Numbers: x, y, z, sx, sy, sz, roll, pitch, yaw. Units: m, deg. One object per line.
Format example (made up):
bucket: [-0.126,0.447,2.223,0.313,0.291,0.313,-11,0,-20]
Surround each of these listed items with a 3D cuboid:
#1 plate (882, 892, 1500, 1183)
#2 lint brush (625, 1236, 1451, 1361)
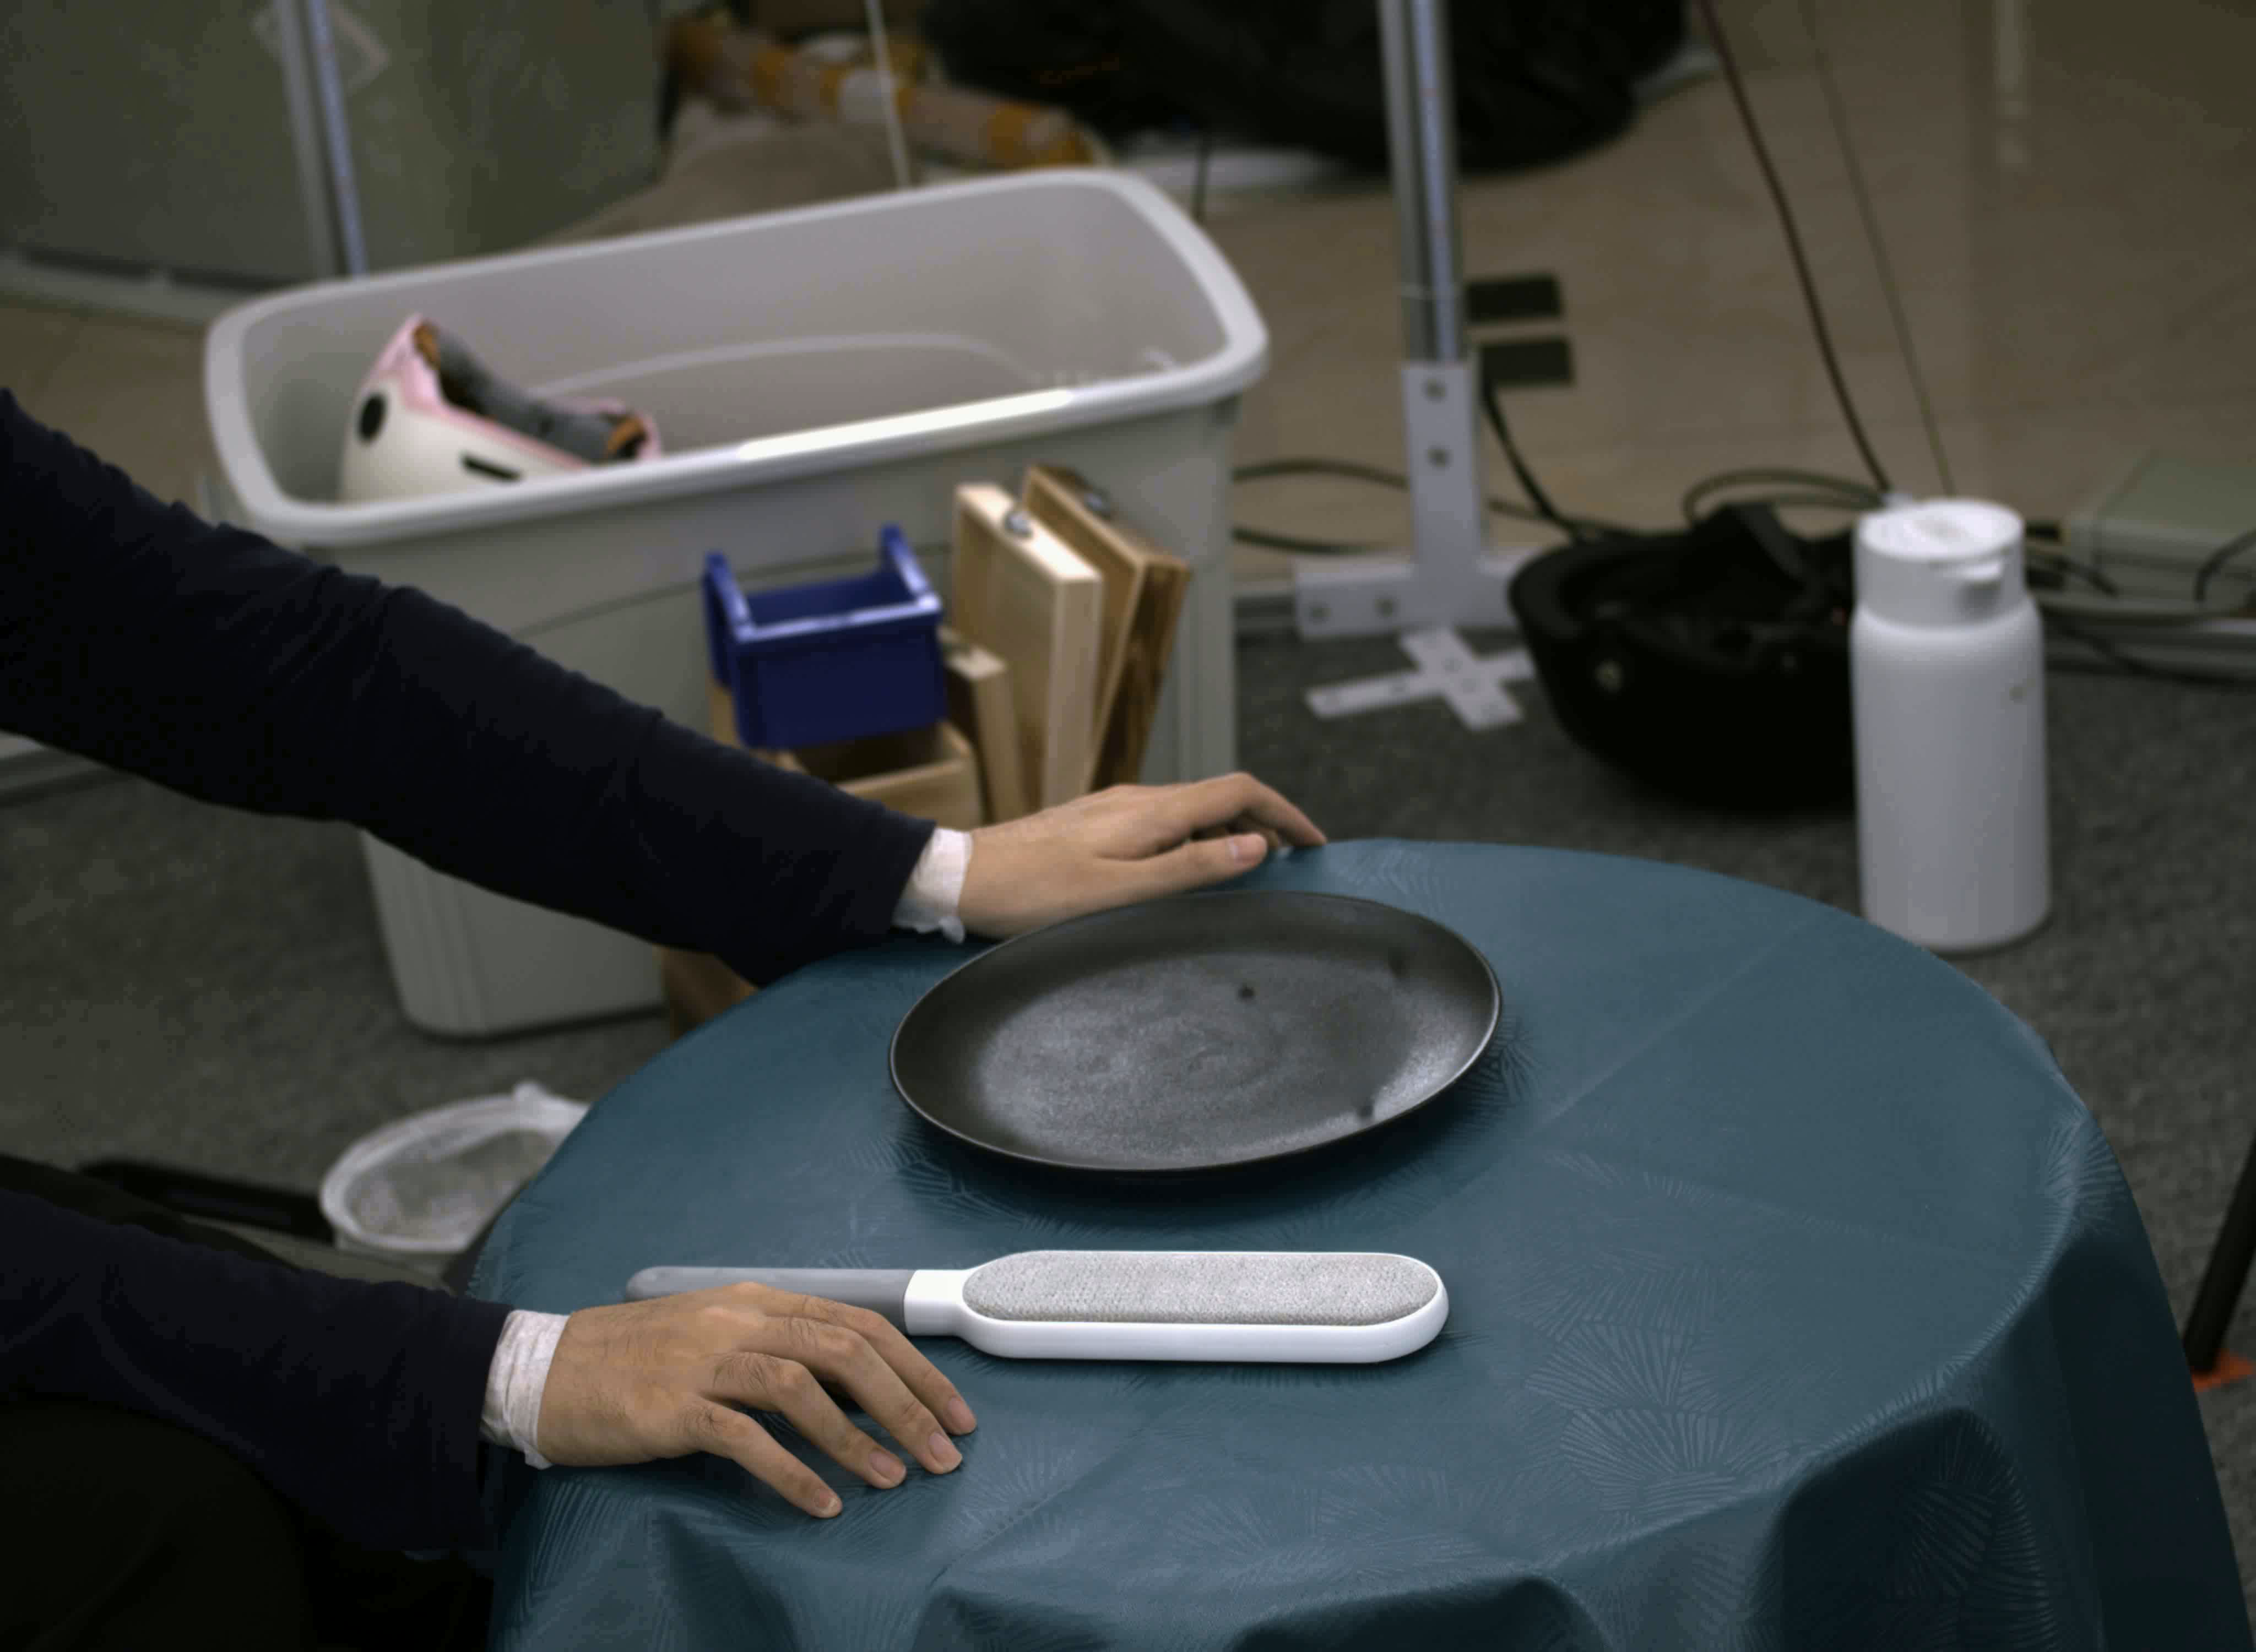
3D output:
plate: [0.026,0.088,2.228,0.244,0.024,0.241,-5,24,3]
lint brush: [-0.036,0.170,2.061,0.308,0.021,0.059,0,31,14]
